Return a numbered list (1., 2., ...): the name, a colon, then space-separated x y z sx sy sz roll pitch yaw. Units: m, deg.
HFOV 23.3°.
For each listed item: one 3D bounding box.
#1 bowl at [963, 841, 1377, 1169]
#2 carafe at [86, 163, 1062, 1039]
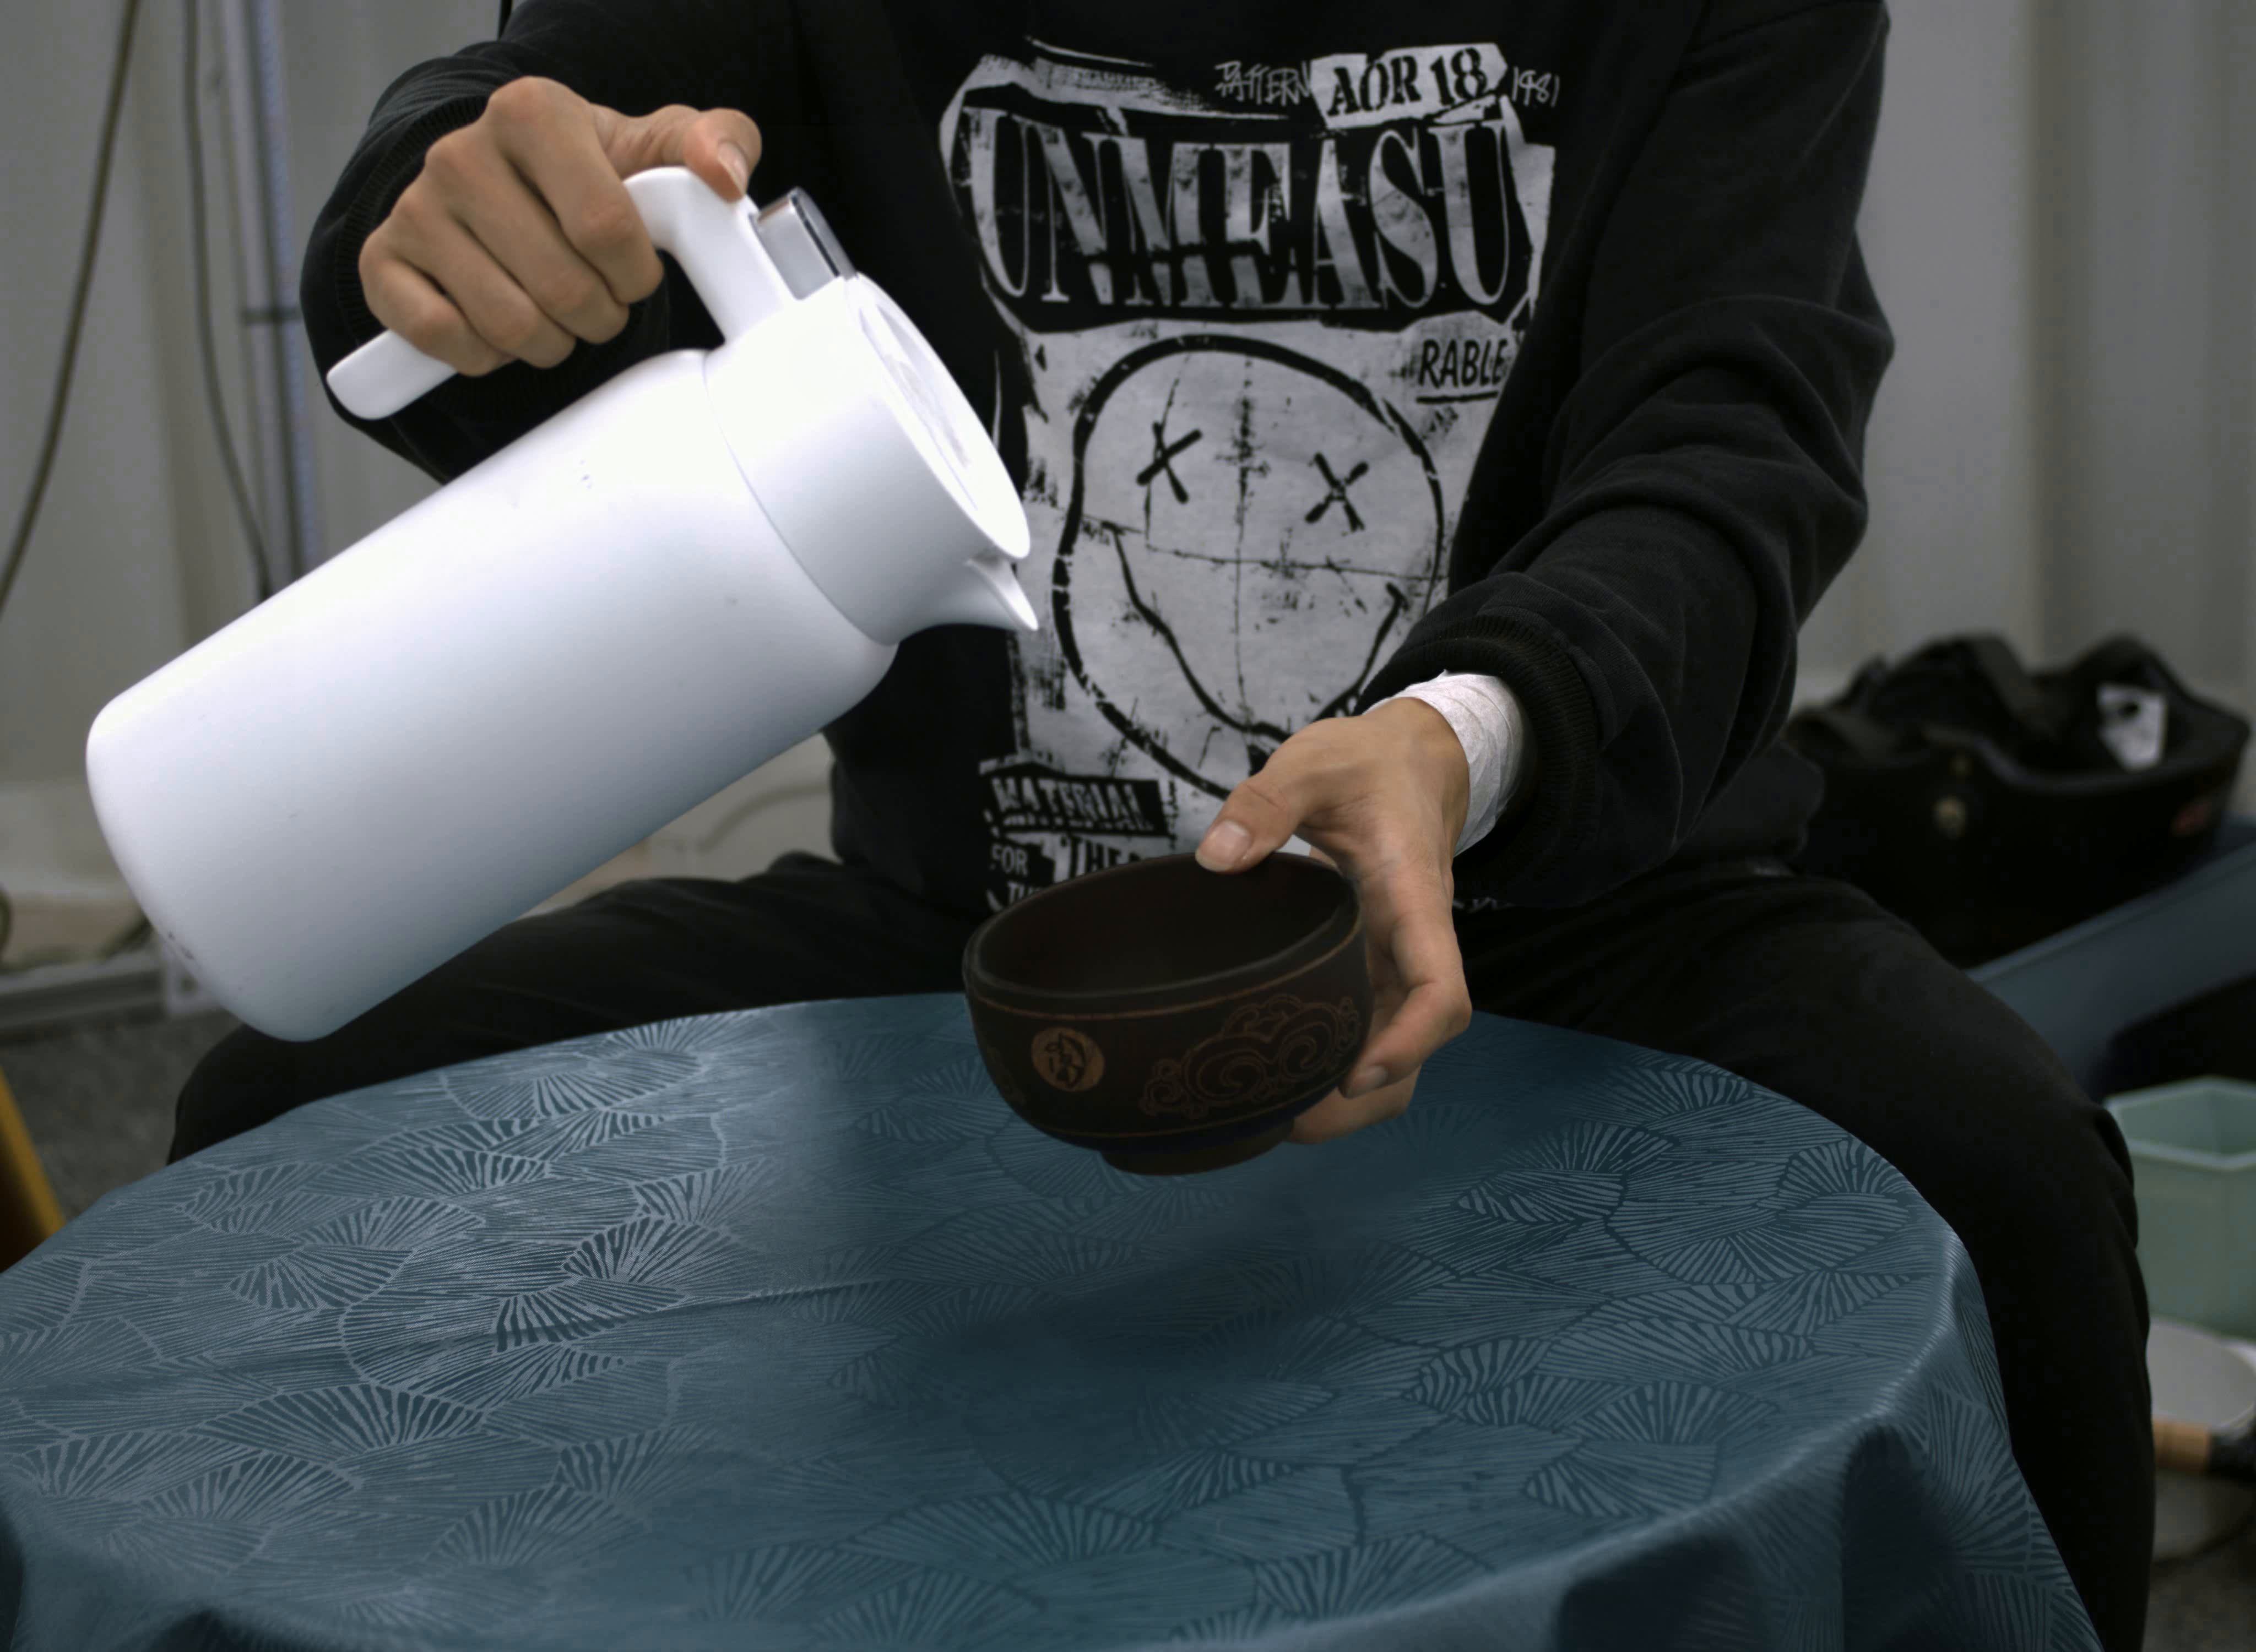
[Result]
1. bowl: 0.015 0.056 1.576 0.117 0.069 0.119 -9 17 3
2. carafe: -0.173 -0.066 1.582 0.268 0.173 0.124 -31 3 13
